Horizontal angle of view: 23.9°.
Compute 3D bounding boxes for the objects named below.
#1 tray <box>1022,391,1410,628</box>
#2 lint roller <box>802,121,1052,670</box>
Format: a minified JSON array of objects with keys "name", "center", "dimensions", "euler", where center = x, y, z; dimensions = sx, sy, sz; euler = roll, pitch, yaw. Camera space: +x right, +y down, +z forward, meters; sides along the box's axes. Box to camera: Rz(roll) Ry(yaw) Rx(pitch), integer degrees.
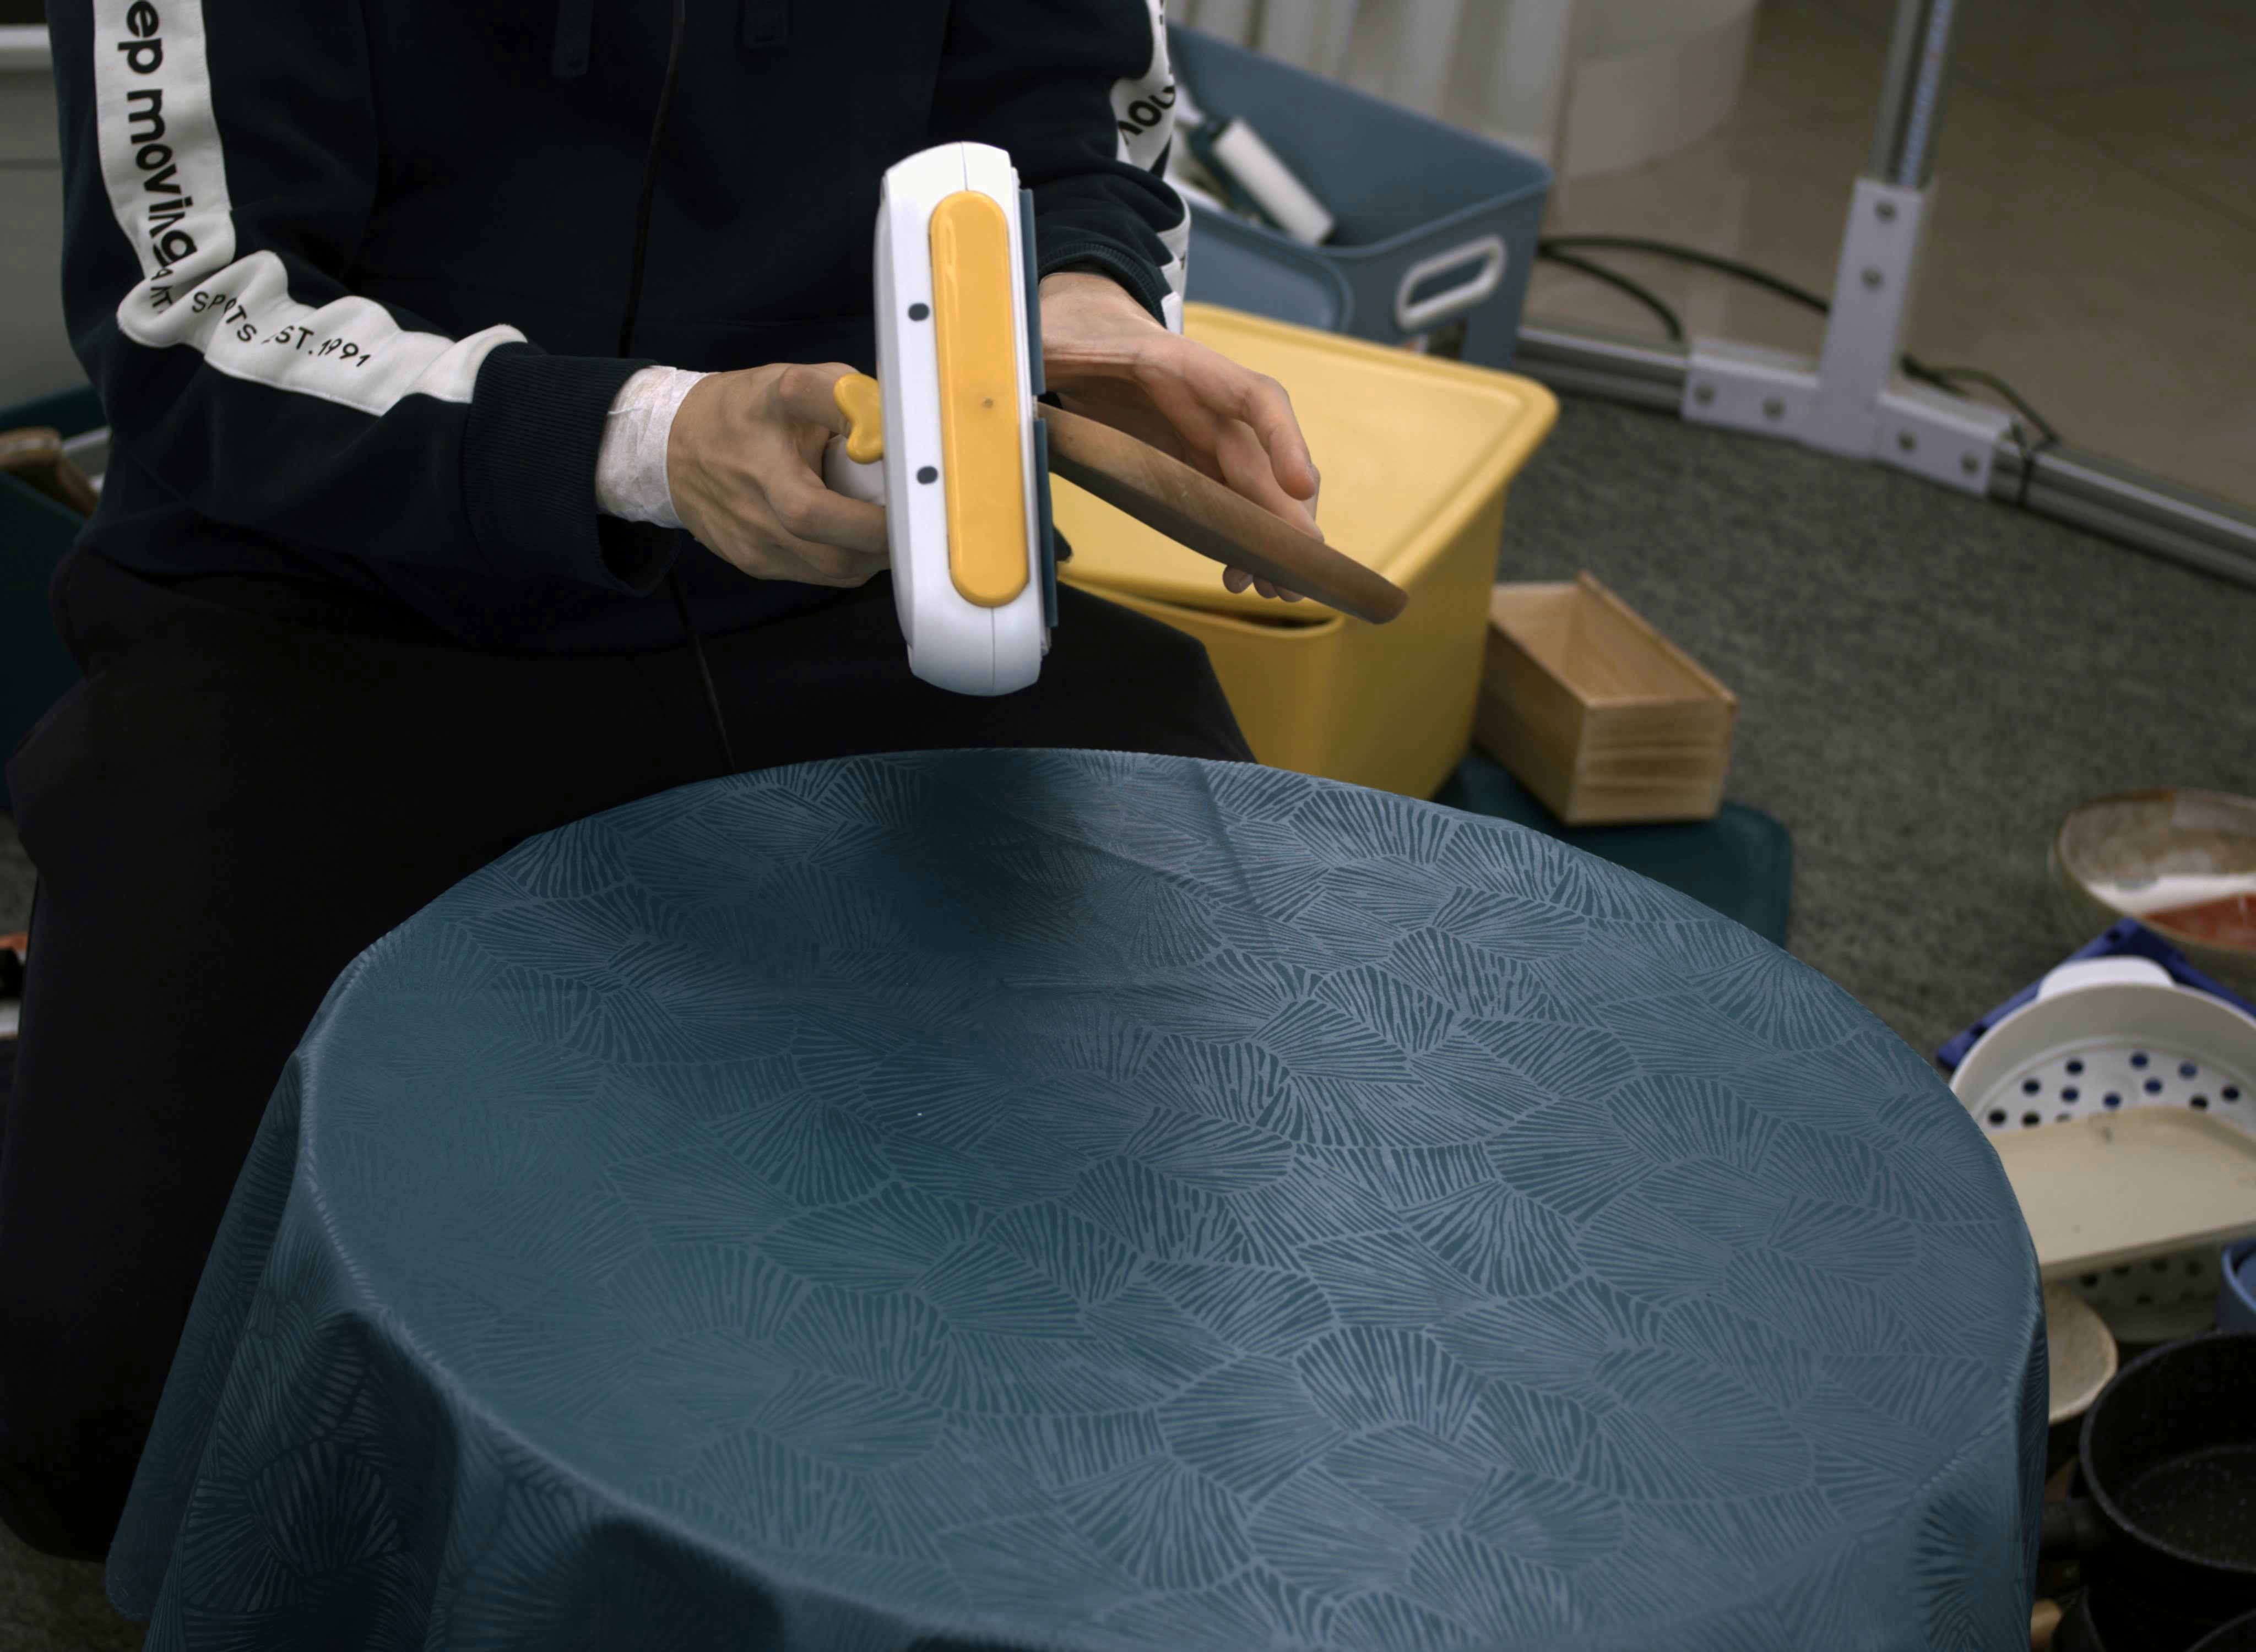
[{"name":"tray","center":[0.014,-0.117,1.905],"dimensions":[0.130,0.023,0.252],"euler":[32,-1,-17]},{"name":"lint roller","center":[-0.077,-0.135,1.903],"dimensions":[0.074,0.194,0.192],"euler":[-7,-12,-12]}]
